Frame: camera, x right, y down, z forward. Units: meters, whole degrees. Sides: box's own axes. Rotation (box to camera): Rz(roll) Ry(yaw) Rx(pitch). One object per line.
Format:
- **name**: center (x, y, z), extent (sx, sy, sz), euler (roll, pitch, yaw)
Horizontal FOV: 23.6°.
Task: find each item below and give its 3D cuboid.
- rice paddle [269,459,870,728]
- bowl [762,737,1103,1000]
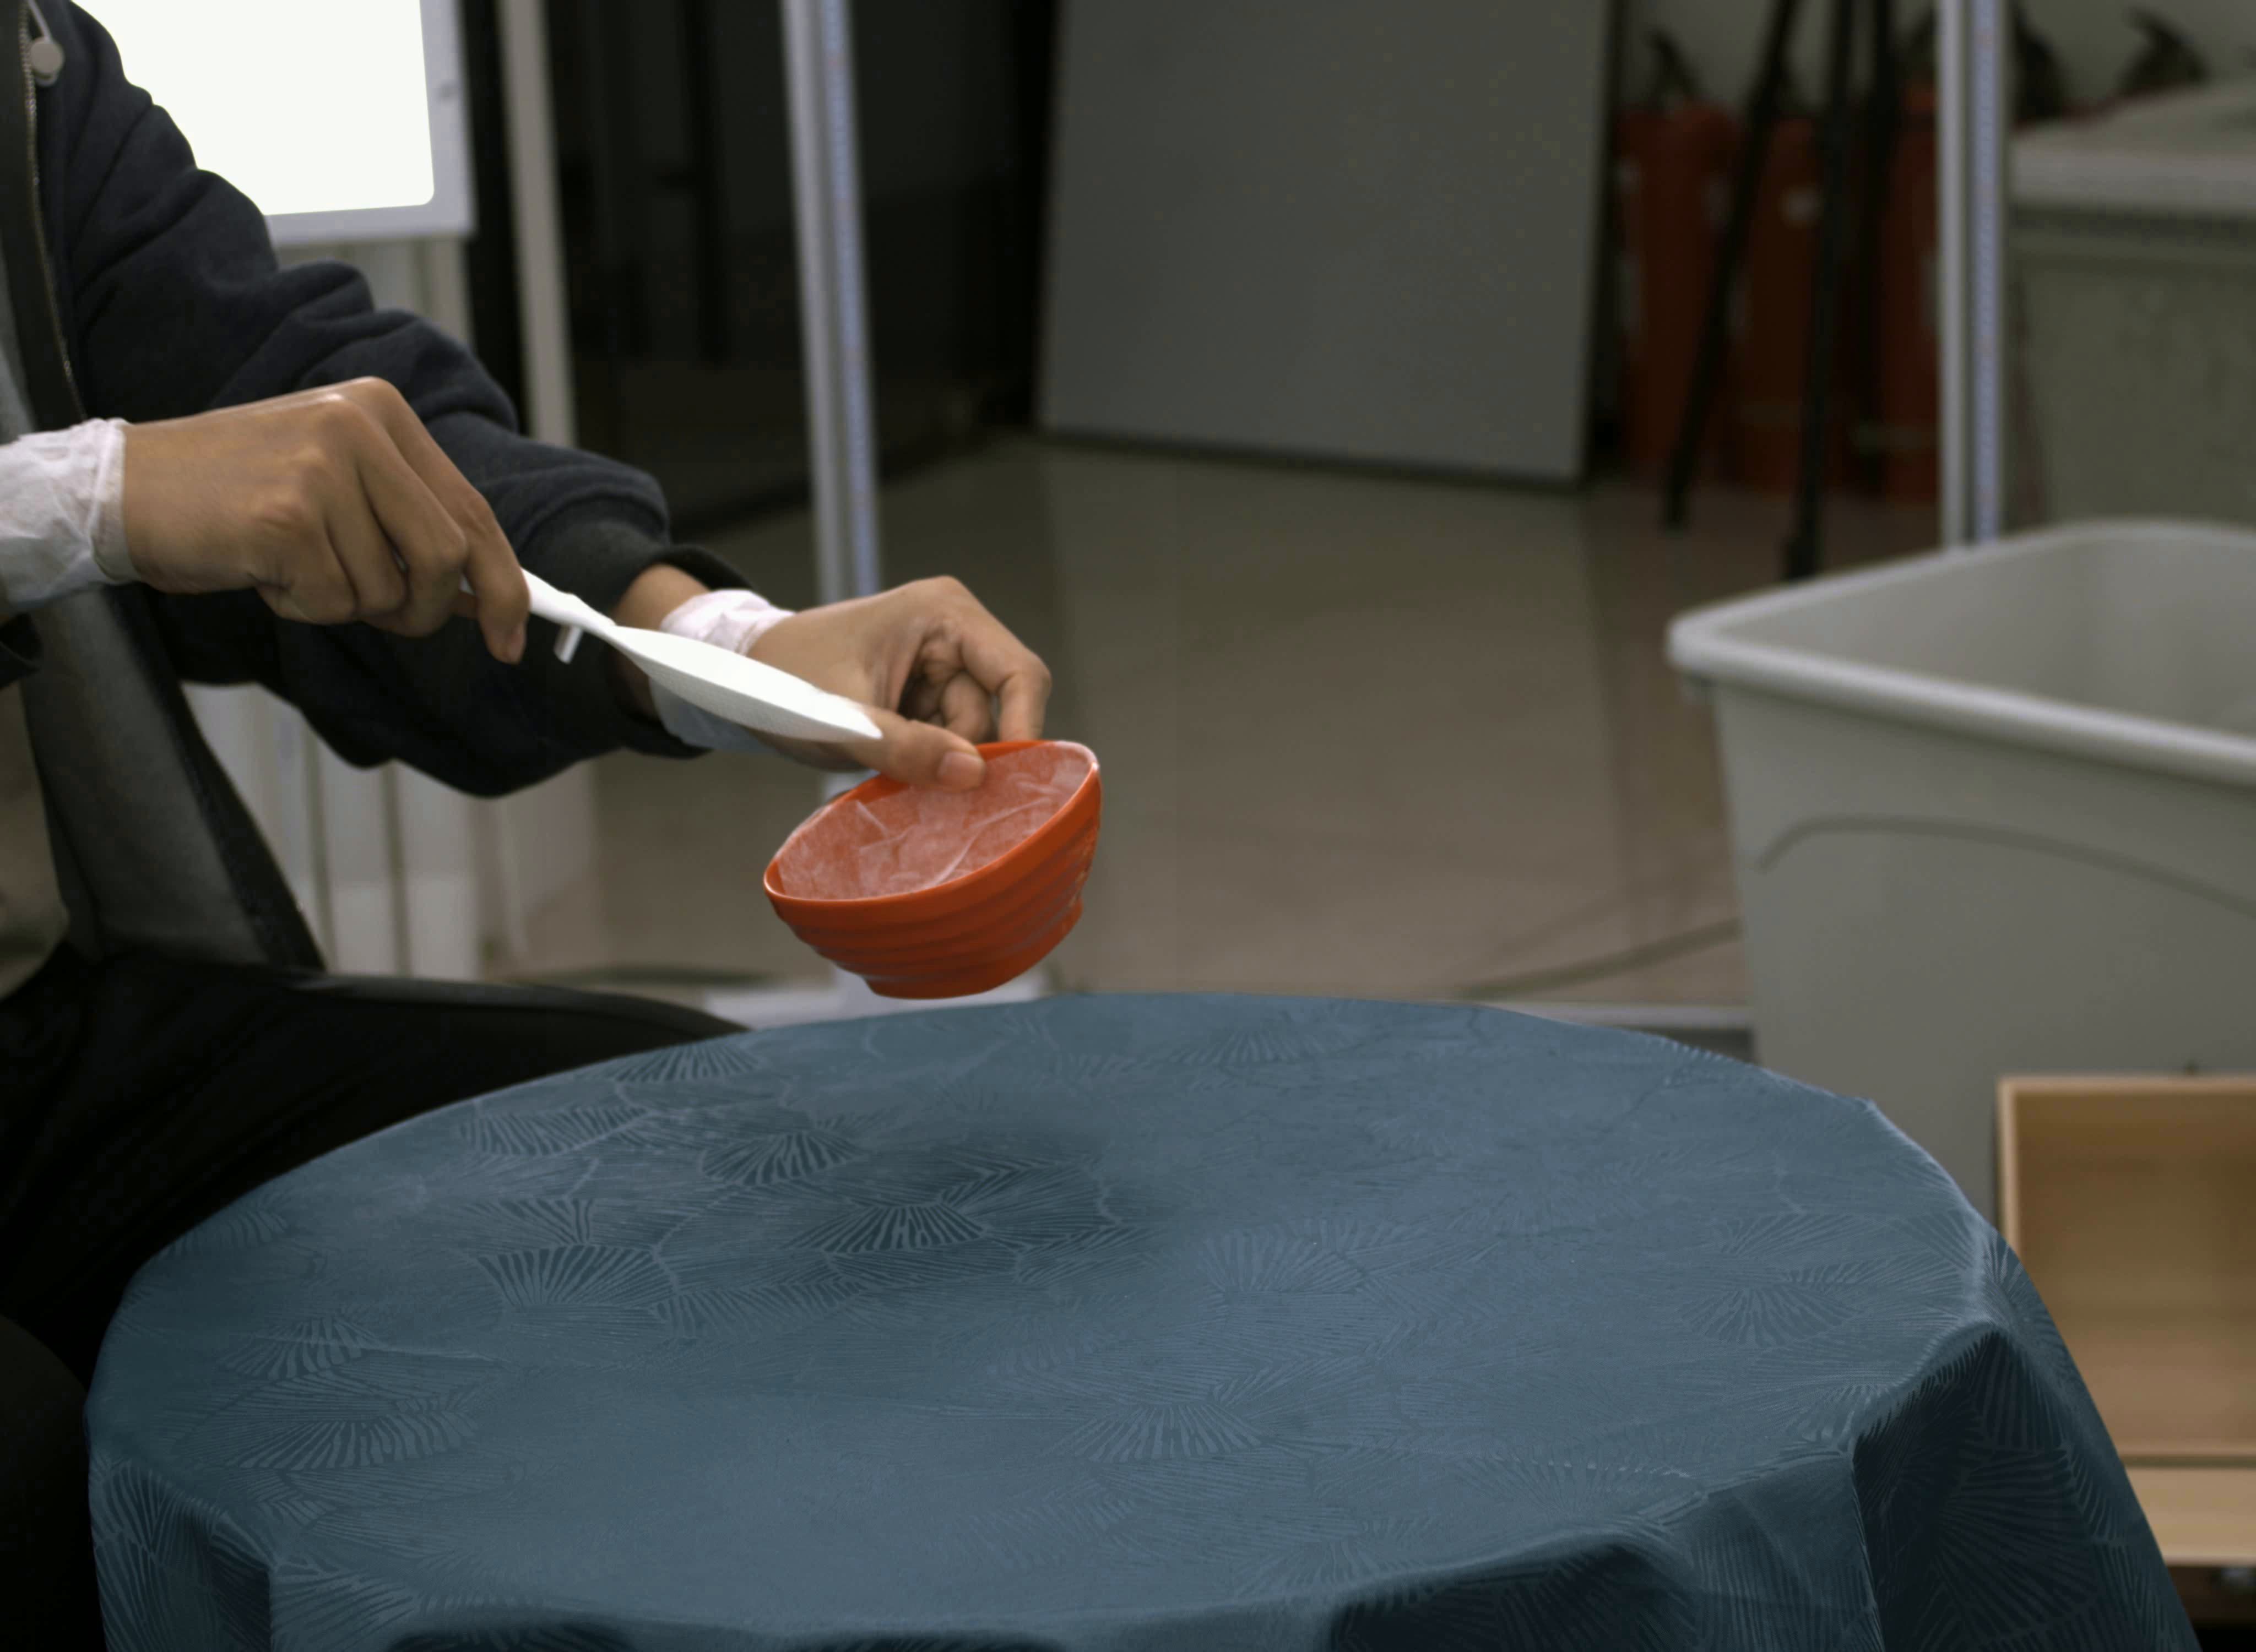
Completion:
- **rice paddle**: center (-0.172, -0.069, 1.717), extent (0.201, 0.030, 0.069), euler (19, 10, -21)
- **bowl**: center (-0.058, 0.019, 1.780), extent (0.118, 0.051, 0.119), euler (-18, 21, 6)
